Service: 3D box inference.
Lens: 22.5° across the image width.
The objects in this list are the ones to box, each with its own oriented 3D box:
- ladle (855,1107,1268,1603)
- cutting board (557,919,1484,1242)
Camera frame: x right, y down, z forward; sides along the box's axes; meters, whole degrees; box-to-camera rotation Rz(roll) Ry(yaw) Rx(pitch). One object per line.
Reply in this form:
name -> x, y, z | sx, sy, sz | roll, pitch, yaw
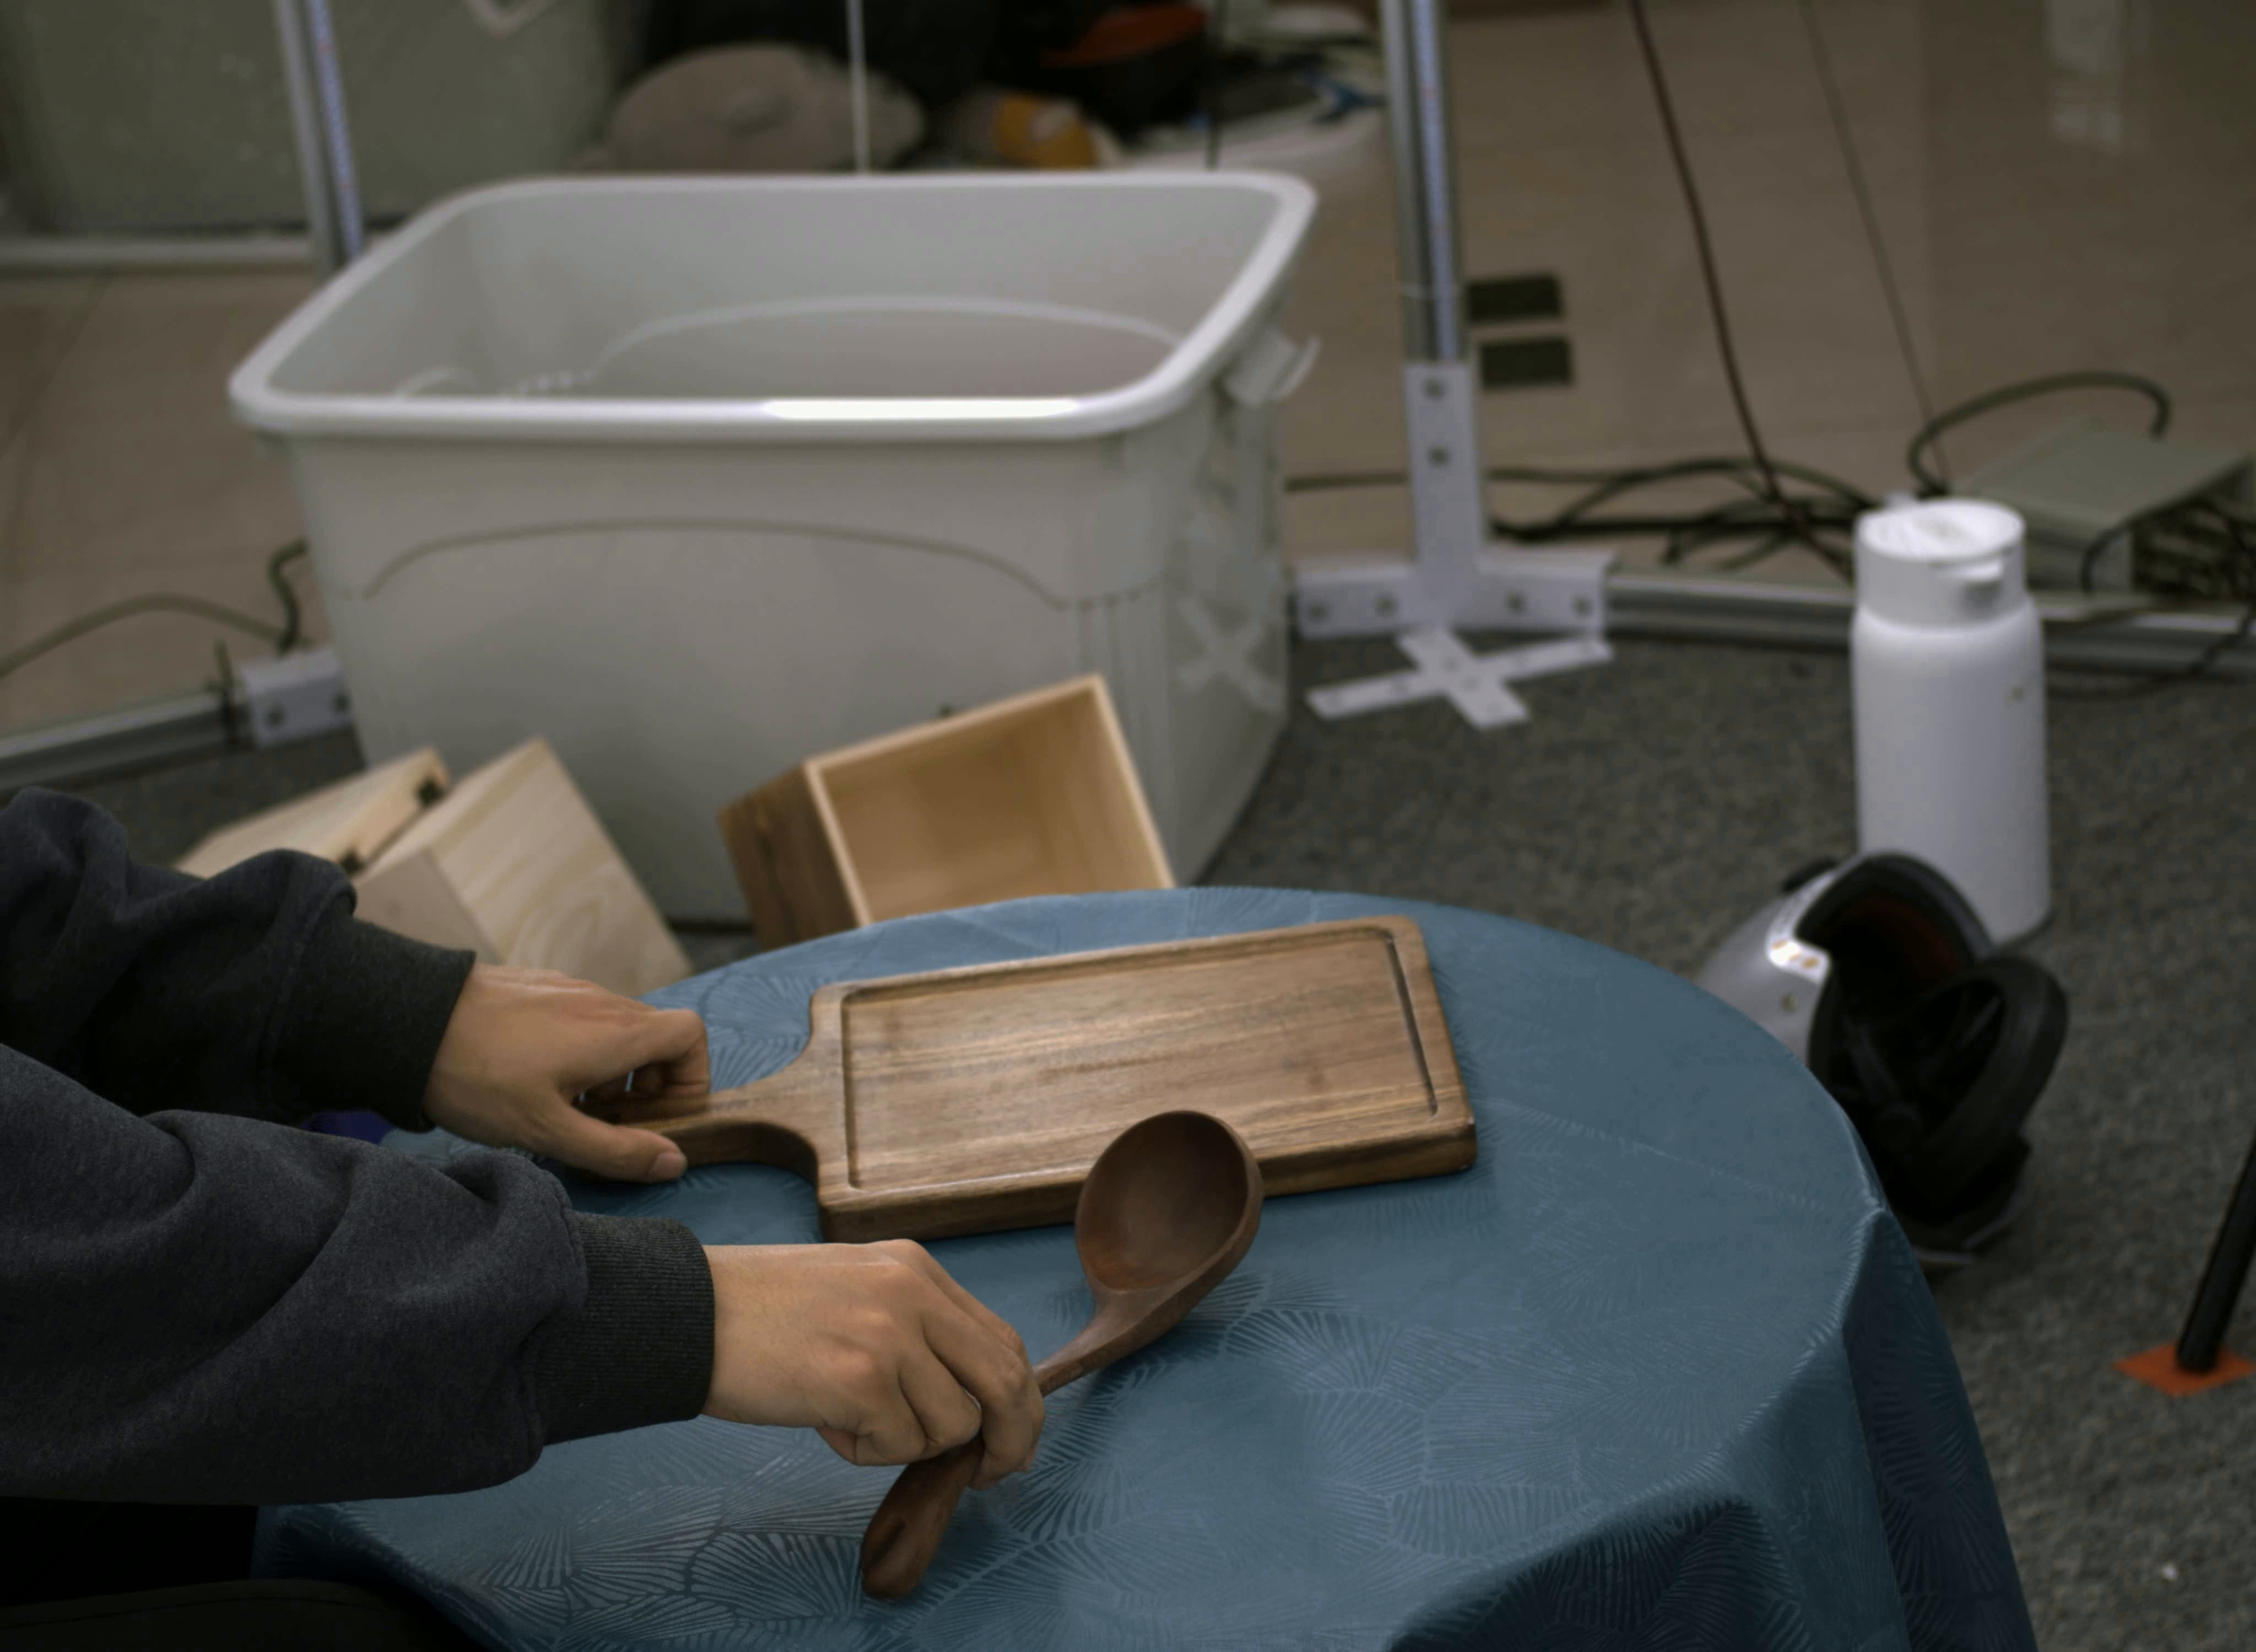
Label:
ladle -> -0.031, 0.180, 1.986 | 0.076, 0.066, 0.257 | -7, 20, 35
cutting board -> -0.047, 0.102, 2.210 | 0.351, 0.023, 0.198 | -7, 23, -2
